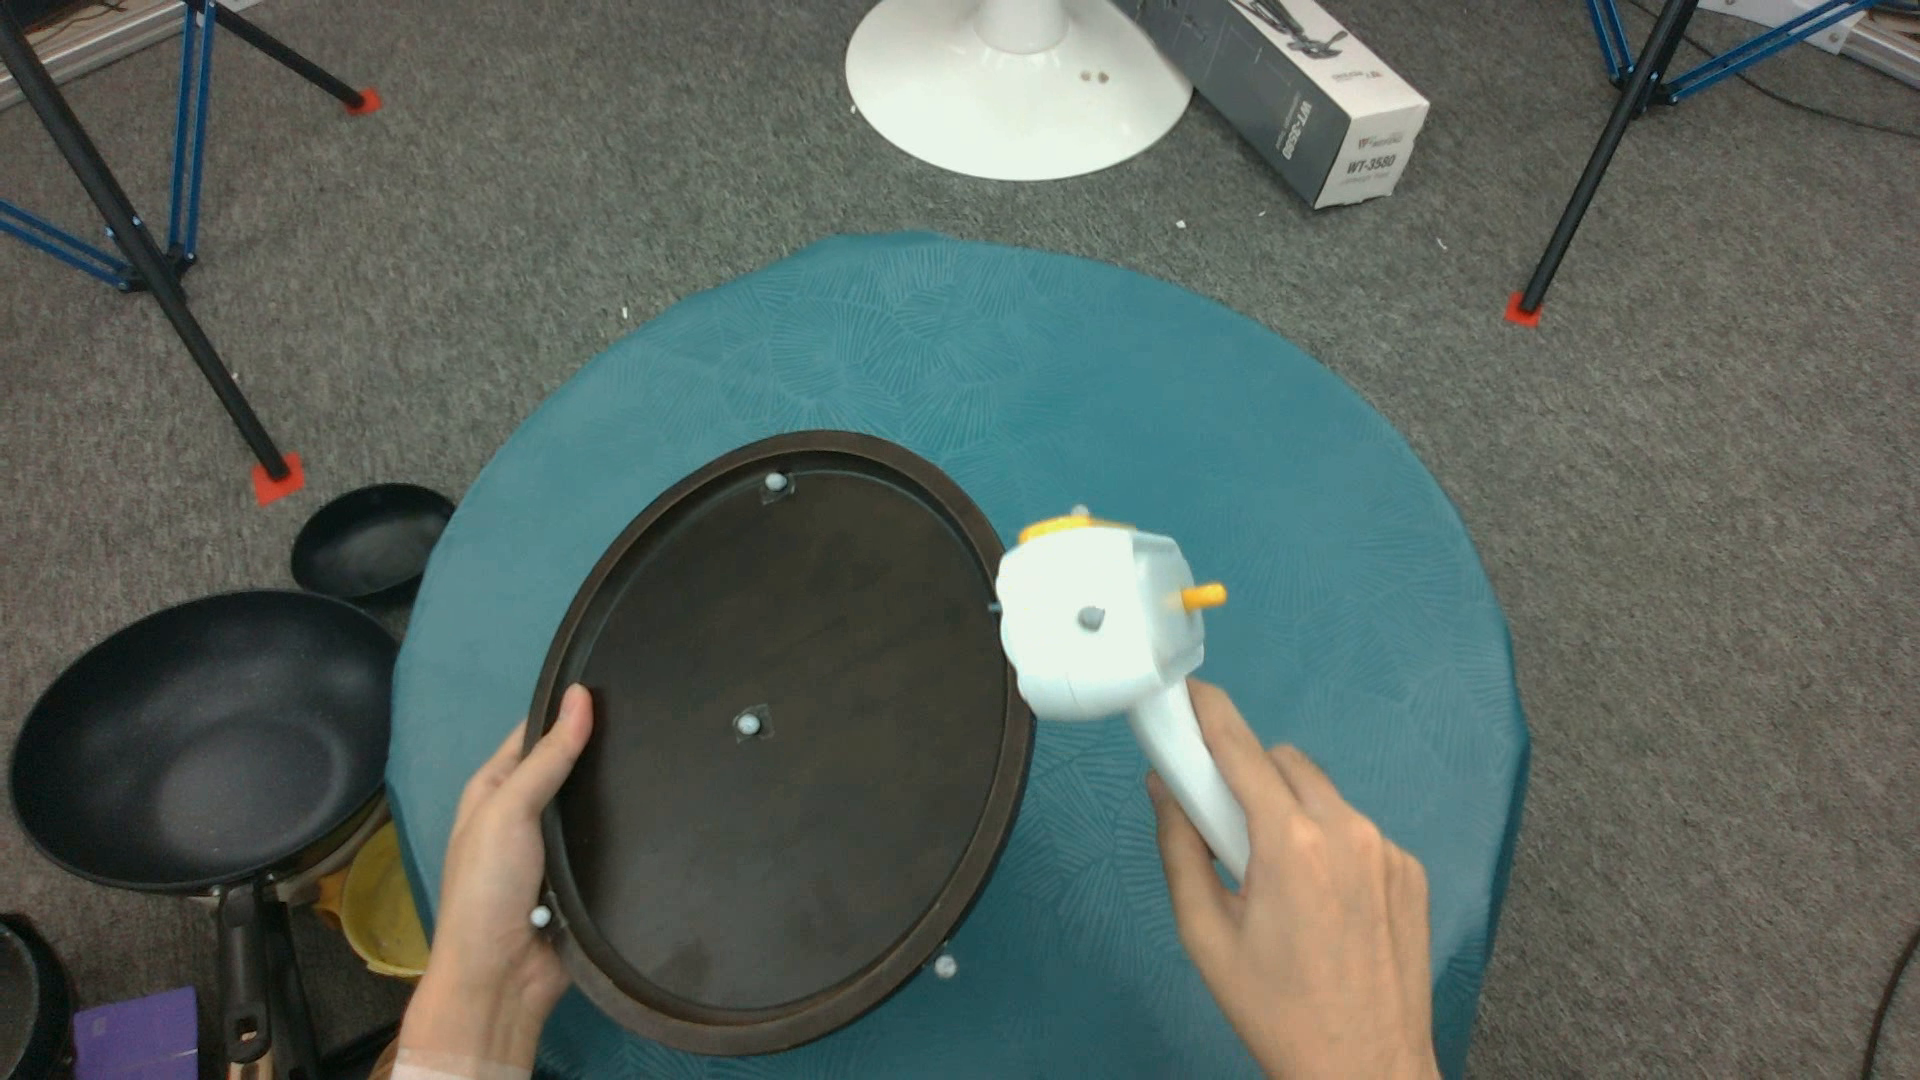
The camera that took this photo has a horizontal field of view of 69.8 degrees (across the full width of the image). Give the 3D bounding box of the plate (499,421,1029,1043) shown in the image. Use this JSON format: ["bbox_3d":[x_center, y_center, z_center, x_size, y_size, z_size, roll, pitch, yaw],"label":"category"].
[{"bbox_3d":[-0.086,0.071,0.564,0.254,0.029,0.255,-10,68,26],"label":"plate"}]

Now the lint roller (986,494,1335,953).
[{"bbox_3d":[0.080,0.071,0.524,0.074,0.193,0.192,-22,87,8],"label":"lint roller"}]
